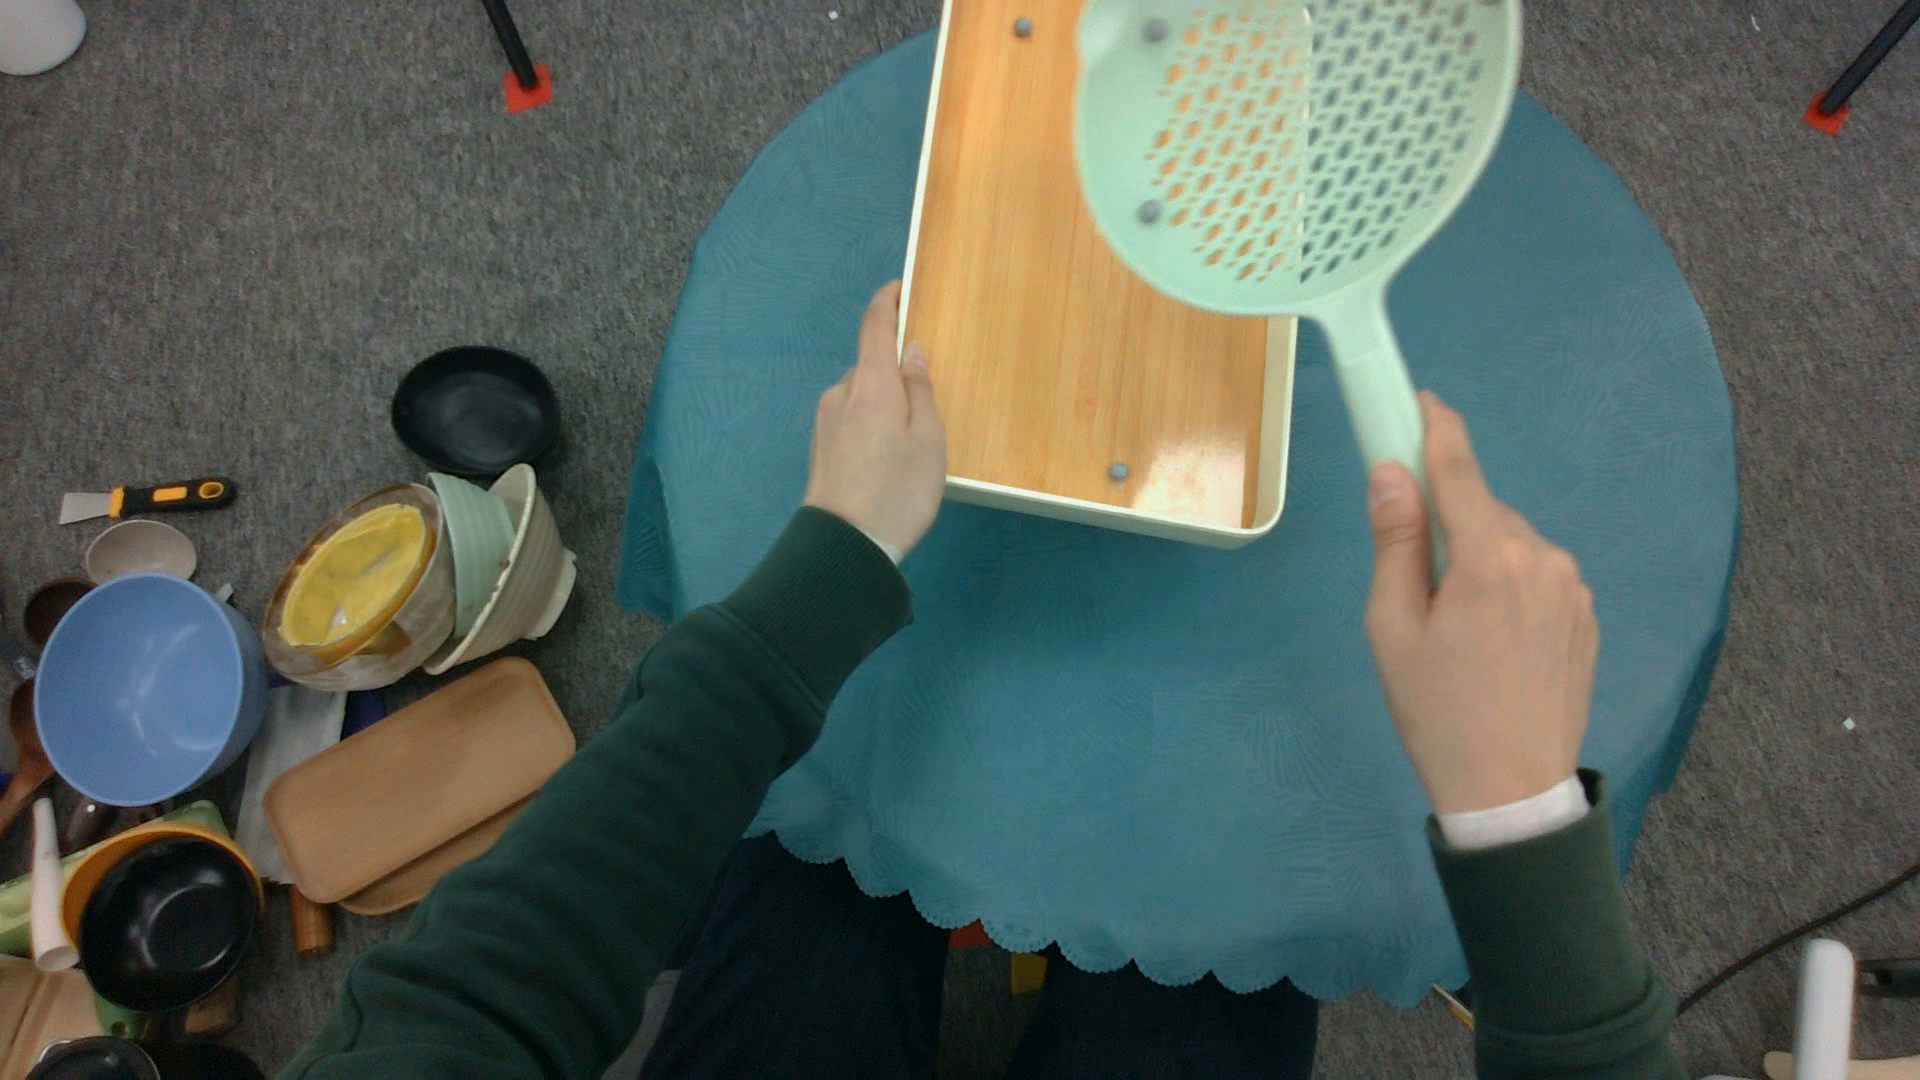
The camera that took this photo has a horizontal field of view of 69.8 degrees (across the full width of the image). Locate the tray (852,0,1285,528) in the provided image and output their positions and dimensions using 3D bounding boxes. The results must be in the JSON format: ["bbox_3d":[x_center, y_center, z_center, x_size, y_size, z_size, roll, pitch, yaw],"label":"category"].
[{"bbox_3d":[0.060,-0.163,0.672,0.192,0.027,0.301,10,72,-10],"label":"tray"}]

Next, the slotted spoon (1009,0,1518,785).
[{"bbox_3d":[0.135,-0.081,0.518,0.168,0.075,0.359,-24,74,30],"label":"slotted spoon"}]
